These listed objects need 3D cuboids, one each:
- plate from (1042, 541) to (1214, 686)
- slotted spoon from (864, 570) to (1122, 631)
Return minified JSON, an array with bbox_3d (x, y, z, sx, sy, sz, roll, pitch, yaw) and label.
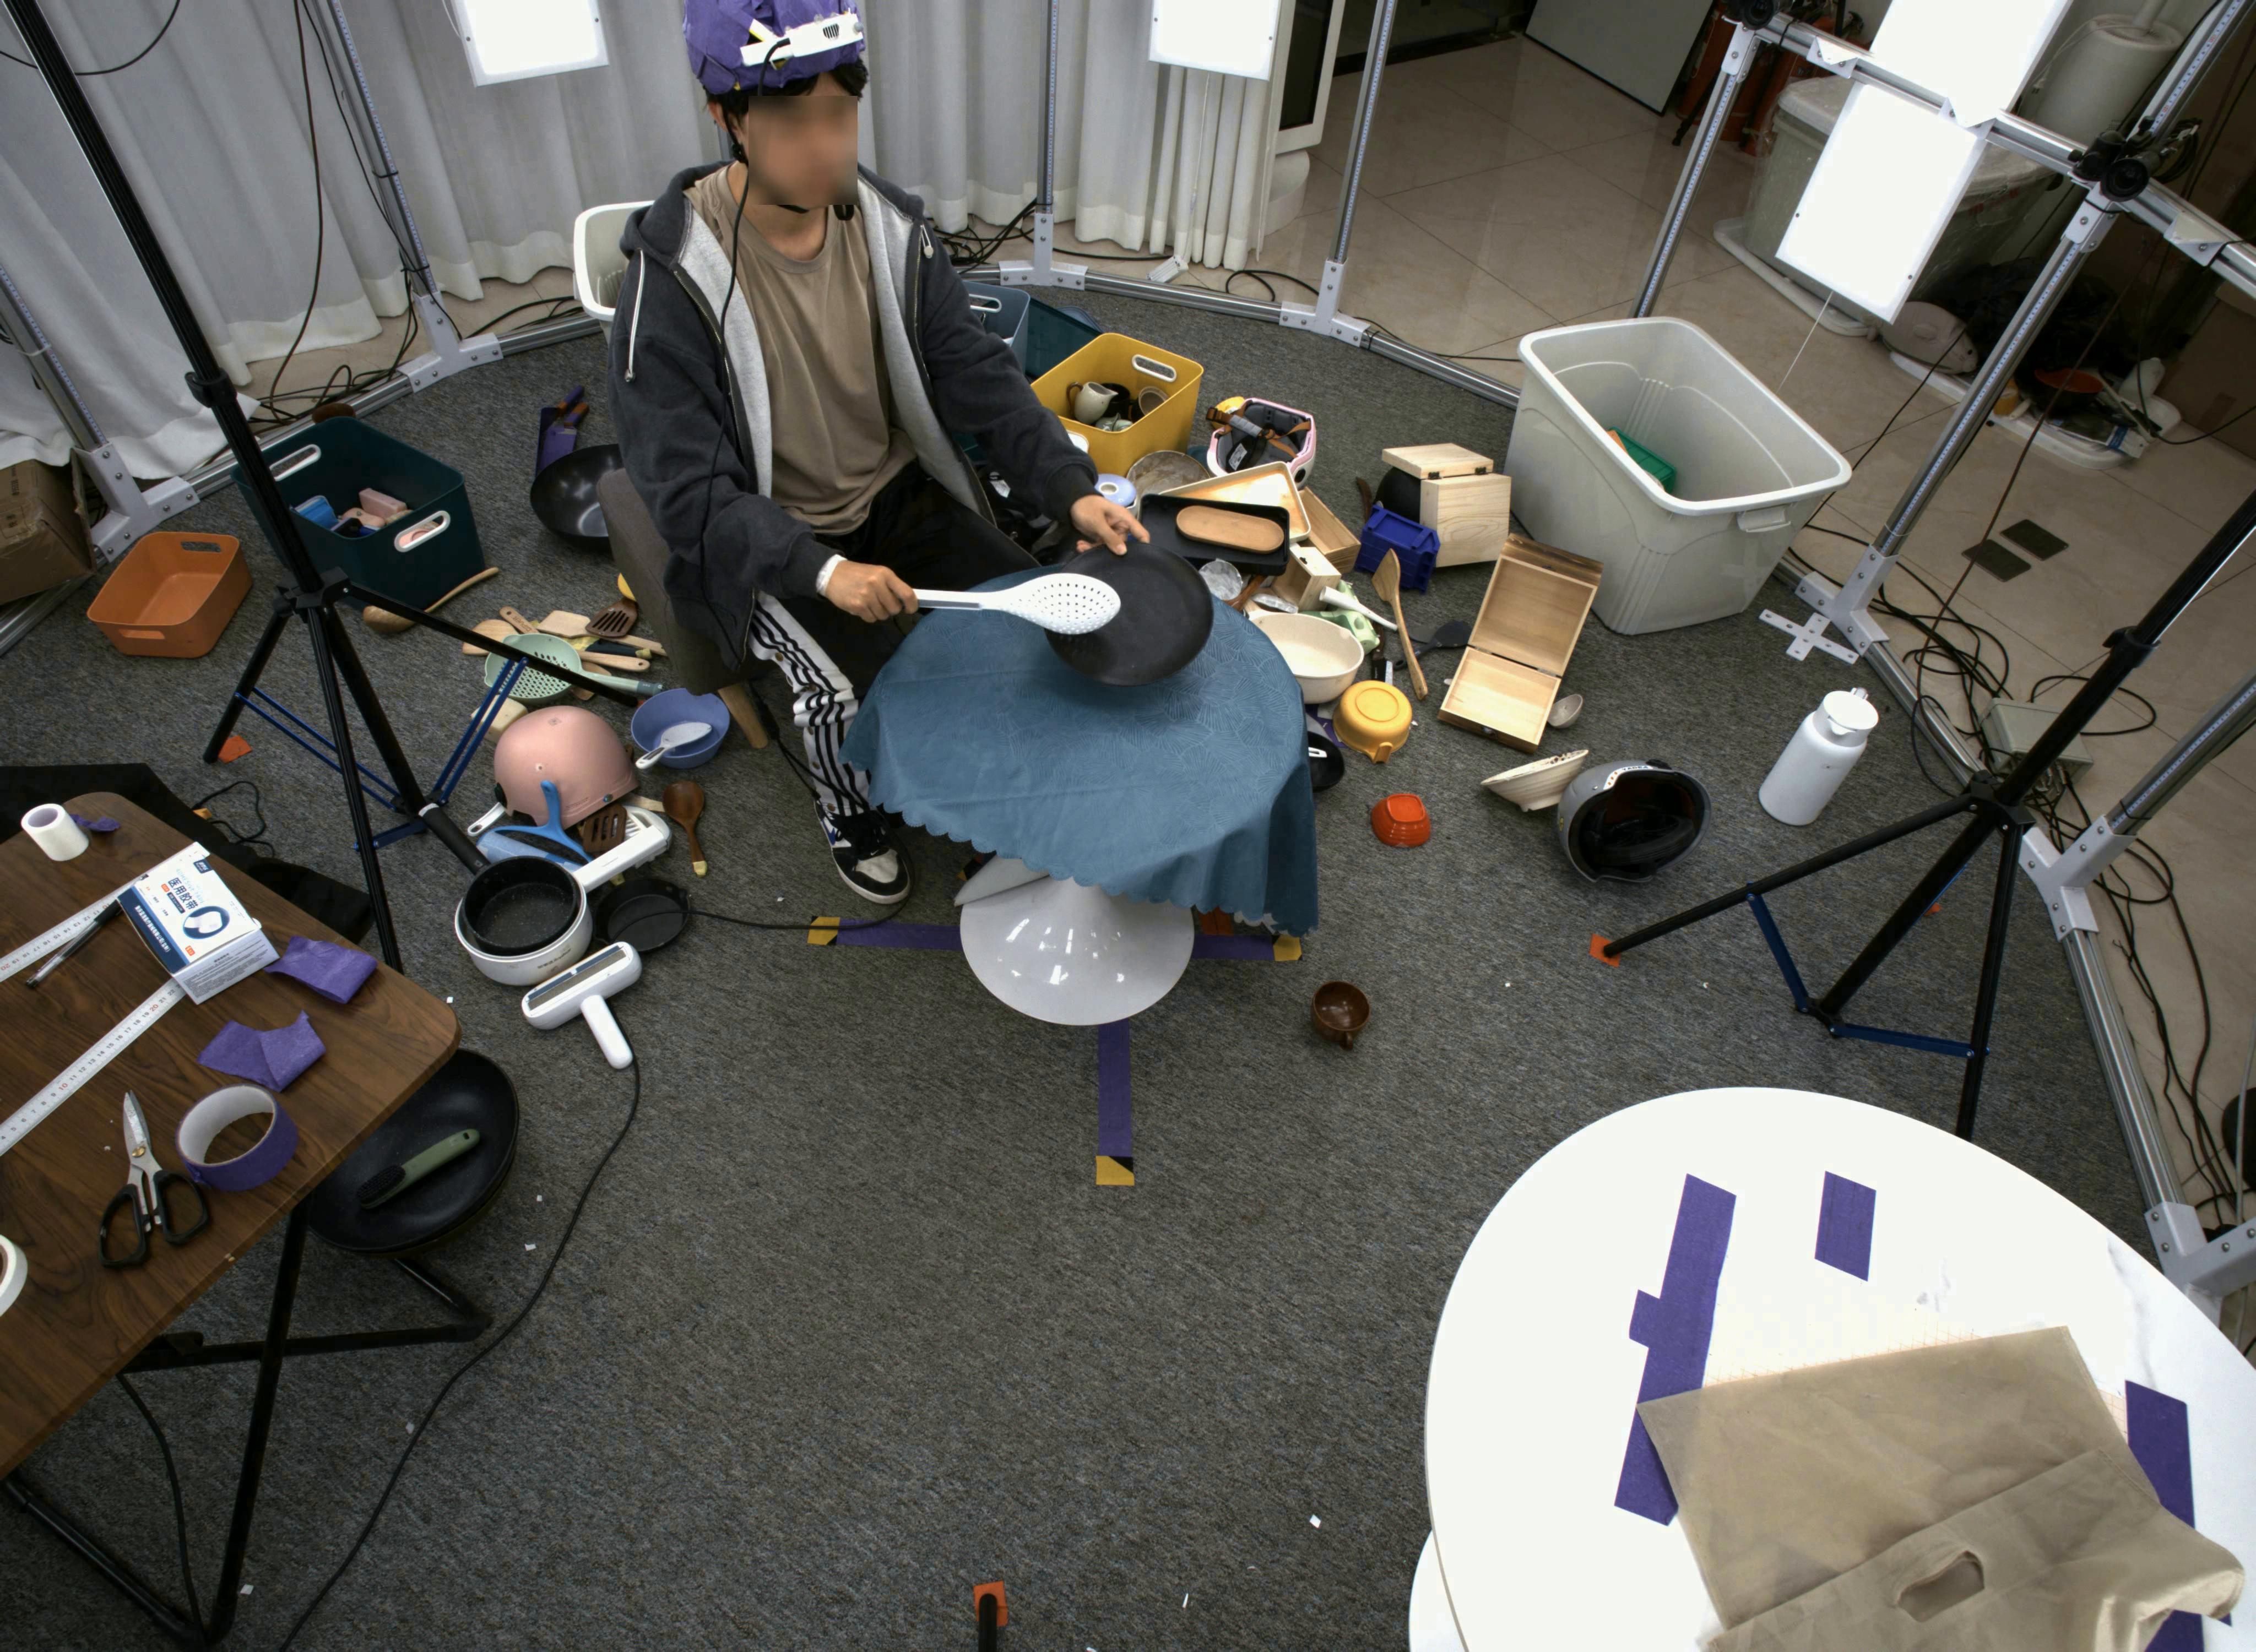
[{"bbox_3d":[0.000,-0.300,1.825,0.244,0.023,0.249,0,63,0],"label":"plate"},{"bbox_3d":[-0.184,-0.309,1.757,0.350,0.133,0.046,7,69,4],"label":"slotted spoon"}]
